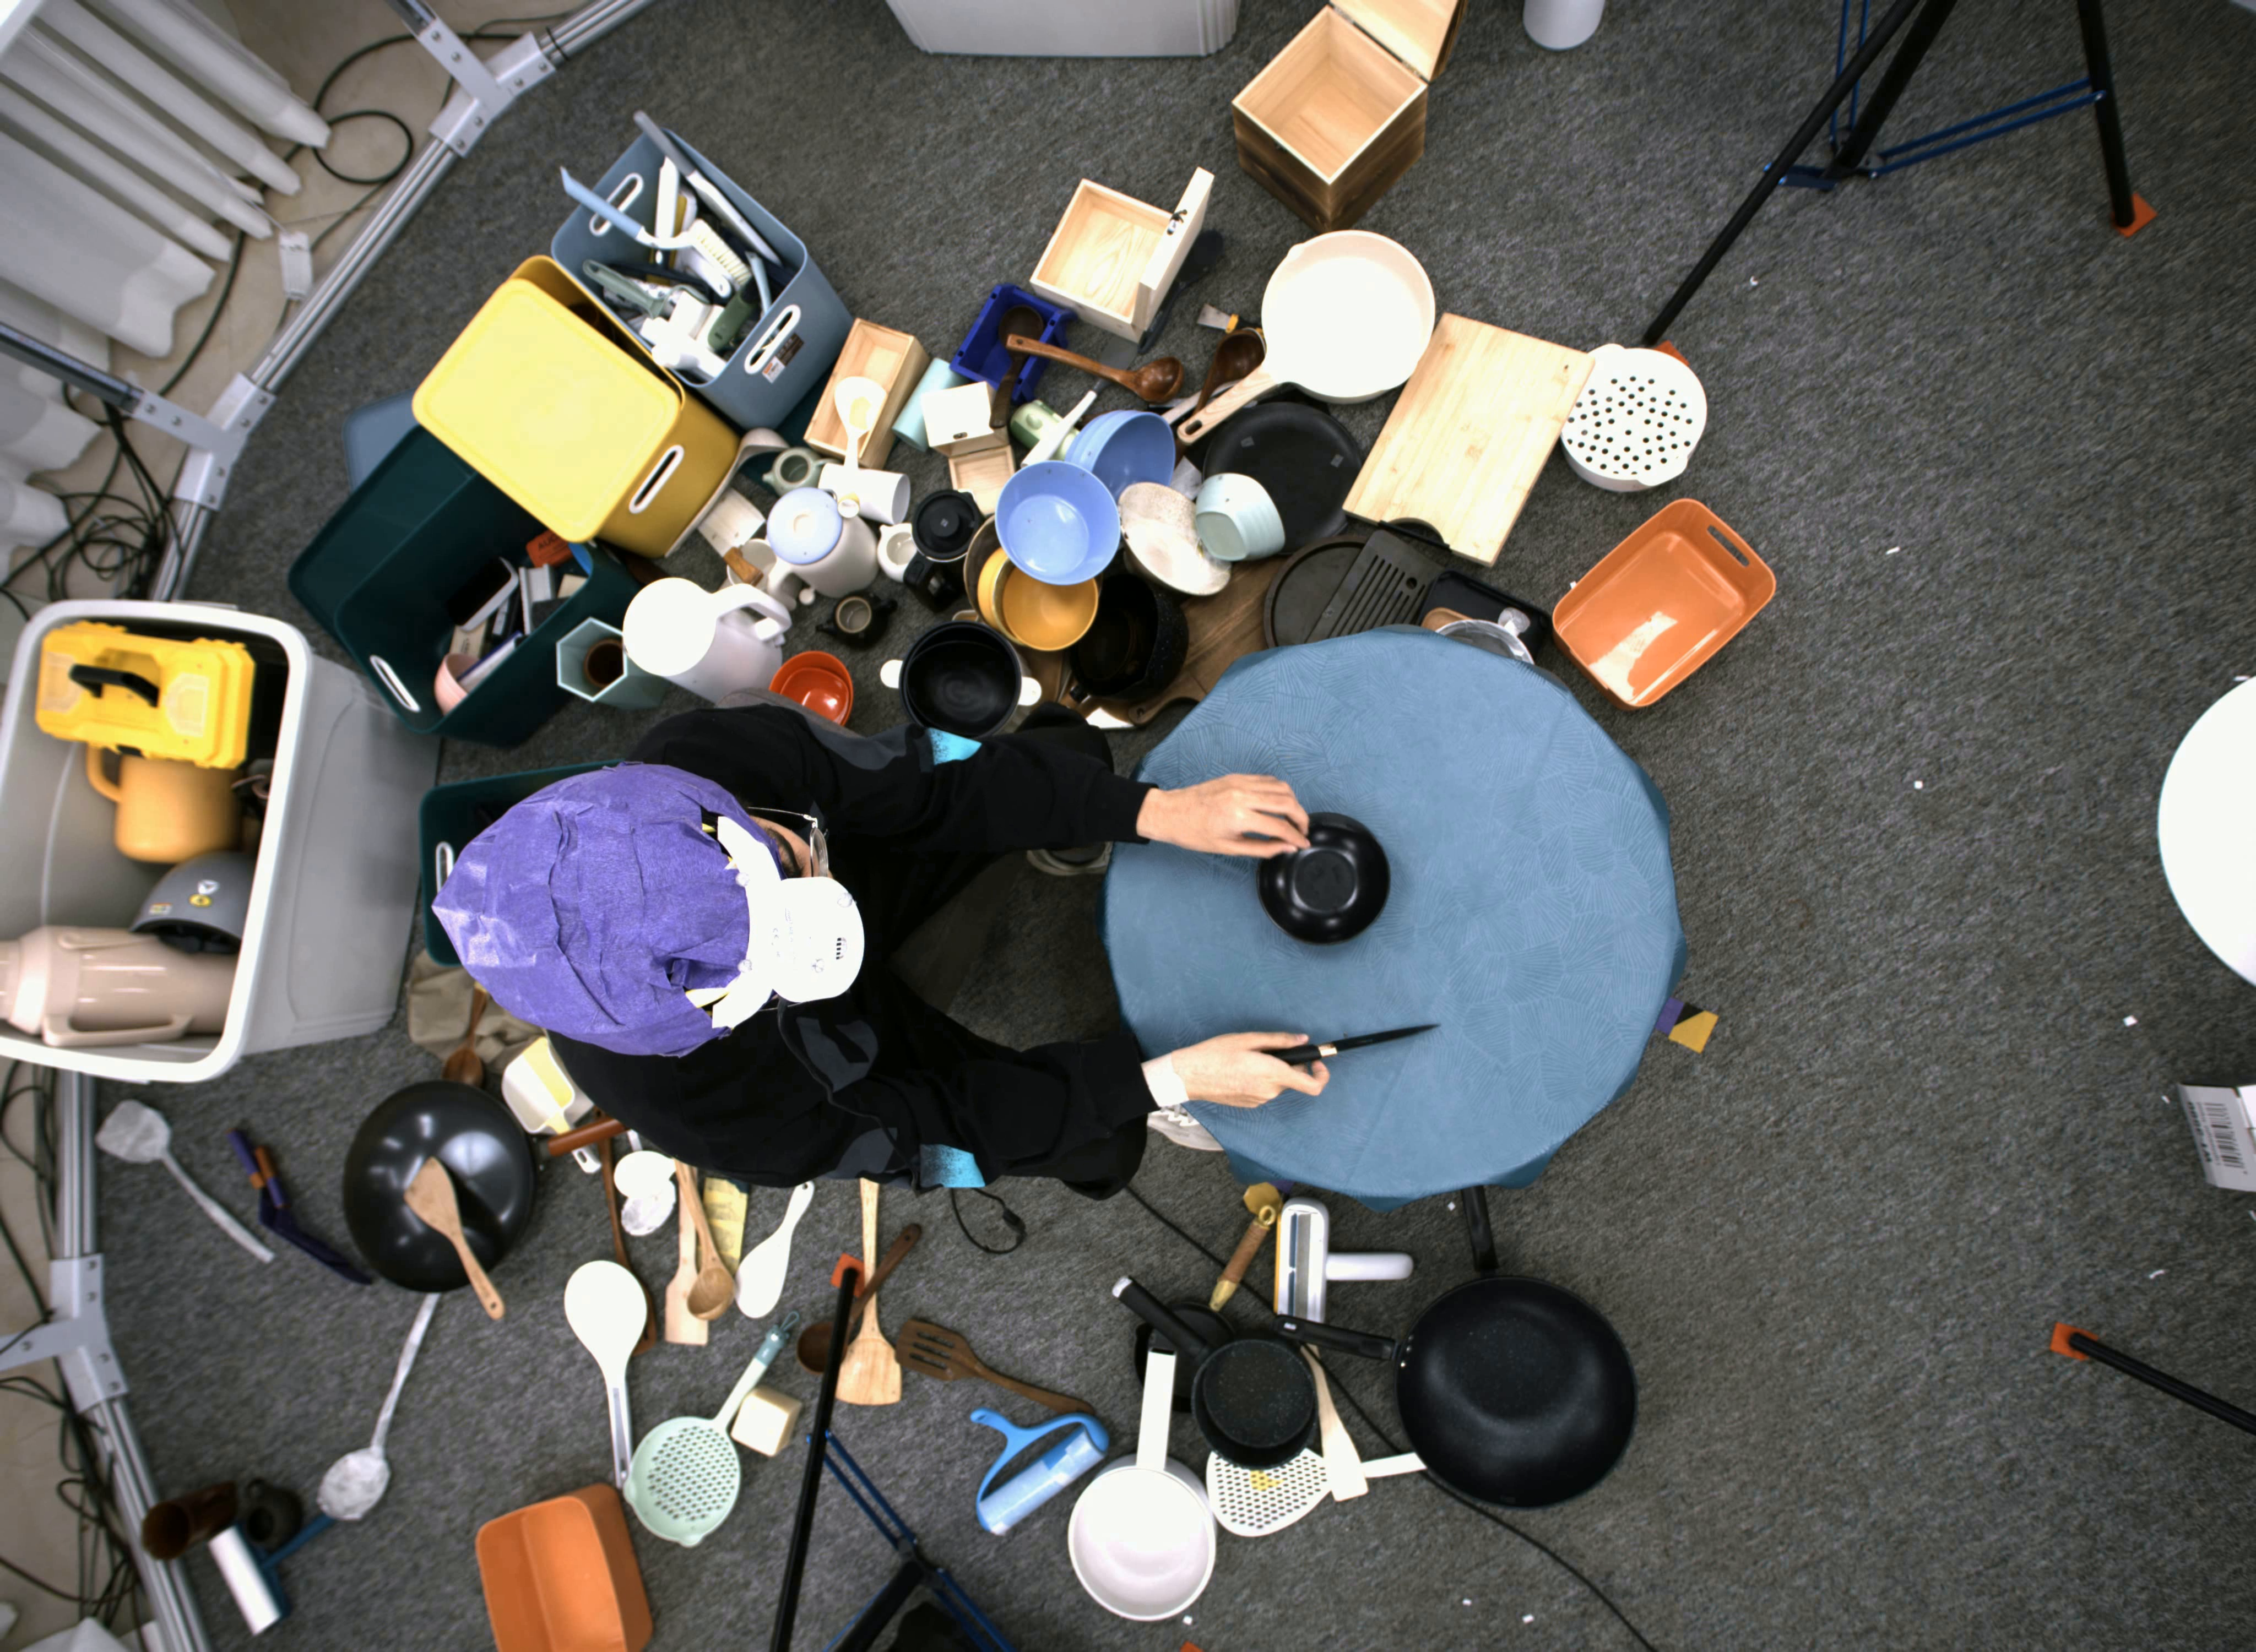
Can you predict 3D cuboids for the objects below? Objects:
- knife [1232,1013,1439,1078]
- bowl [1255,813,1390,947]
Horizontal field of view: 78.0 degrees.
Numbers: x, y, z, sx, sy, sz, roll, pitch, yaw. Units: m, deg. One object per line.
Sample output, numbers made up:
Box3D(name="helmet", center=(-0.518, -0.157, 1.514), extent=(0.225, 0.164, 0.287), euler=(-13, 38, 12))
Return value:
Box3D(name="knife", center=(0.216, 0.225, 1.438), extent=(0.226, 0.026, 0.017), euler=(-15, 108, 1))
Box3D(name="bowl", center=(0.205, 0.056, 1.451), extent=(0.140, 0.049, 0.139), euler=(-1, 89, 14))
